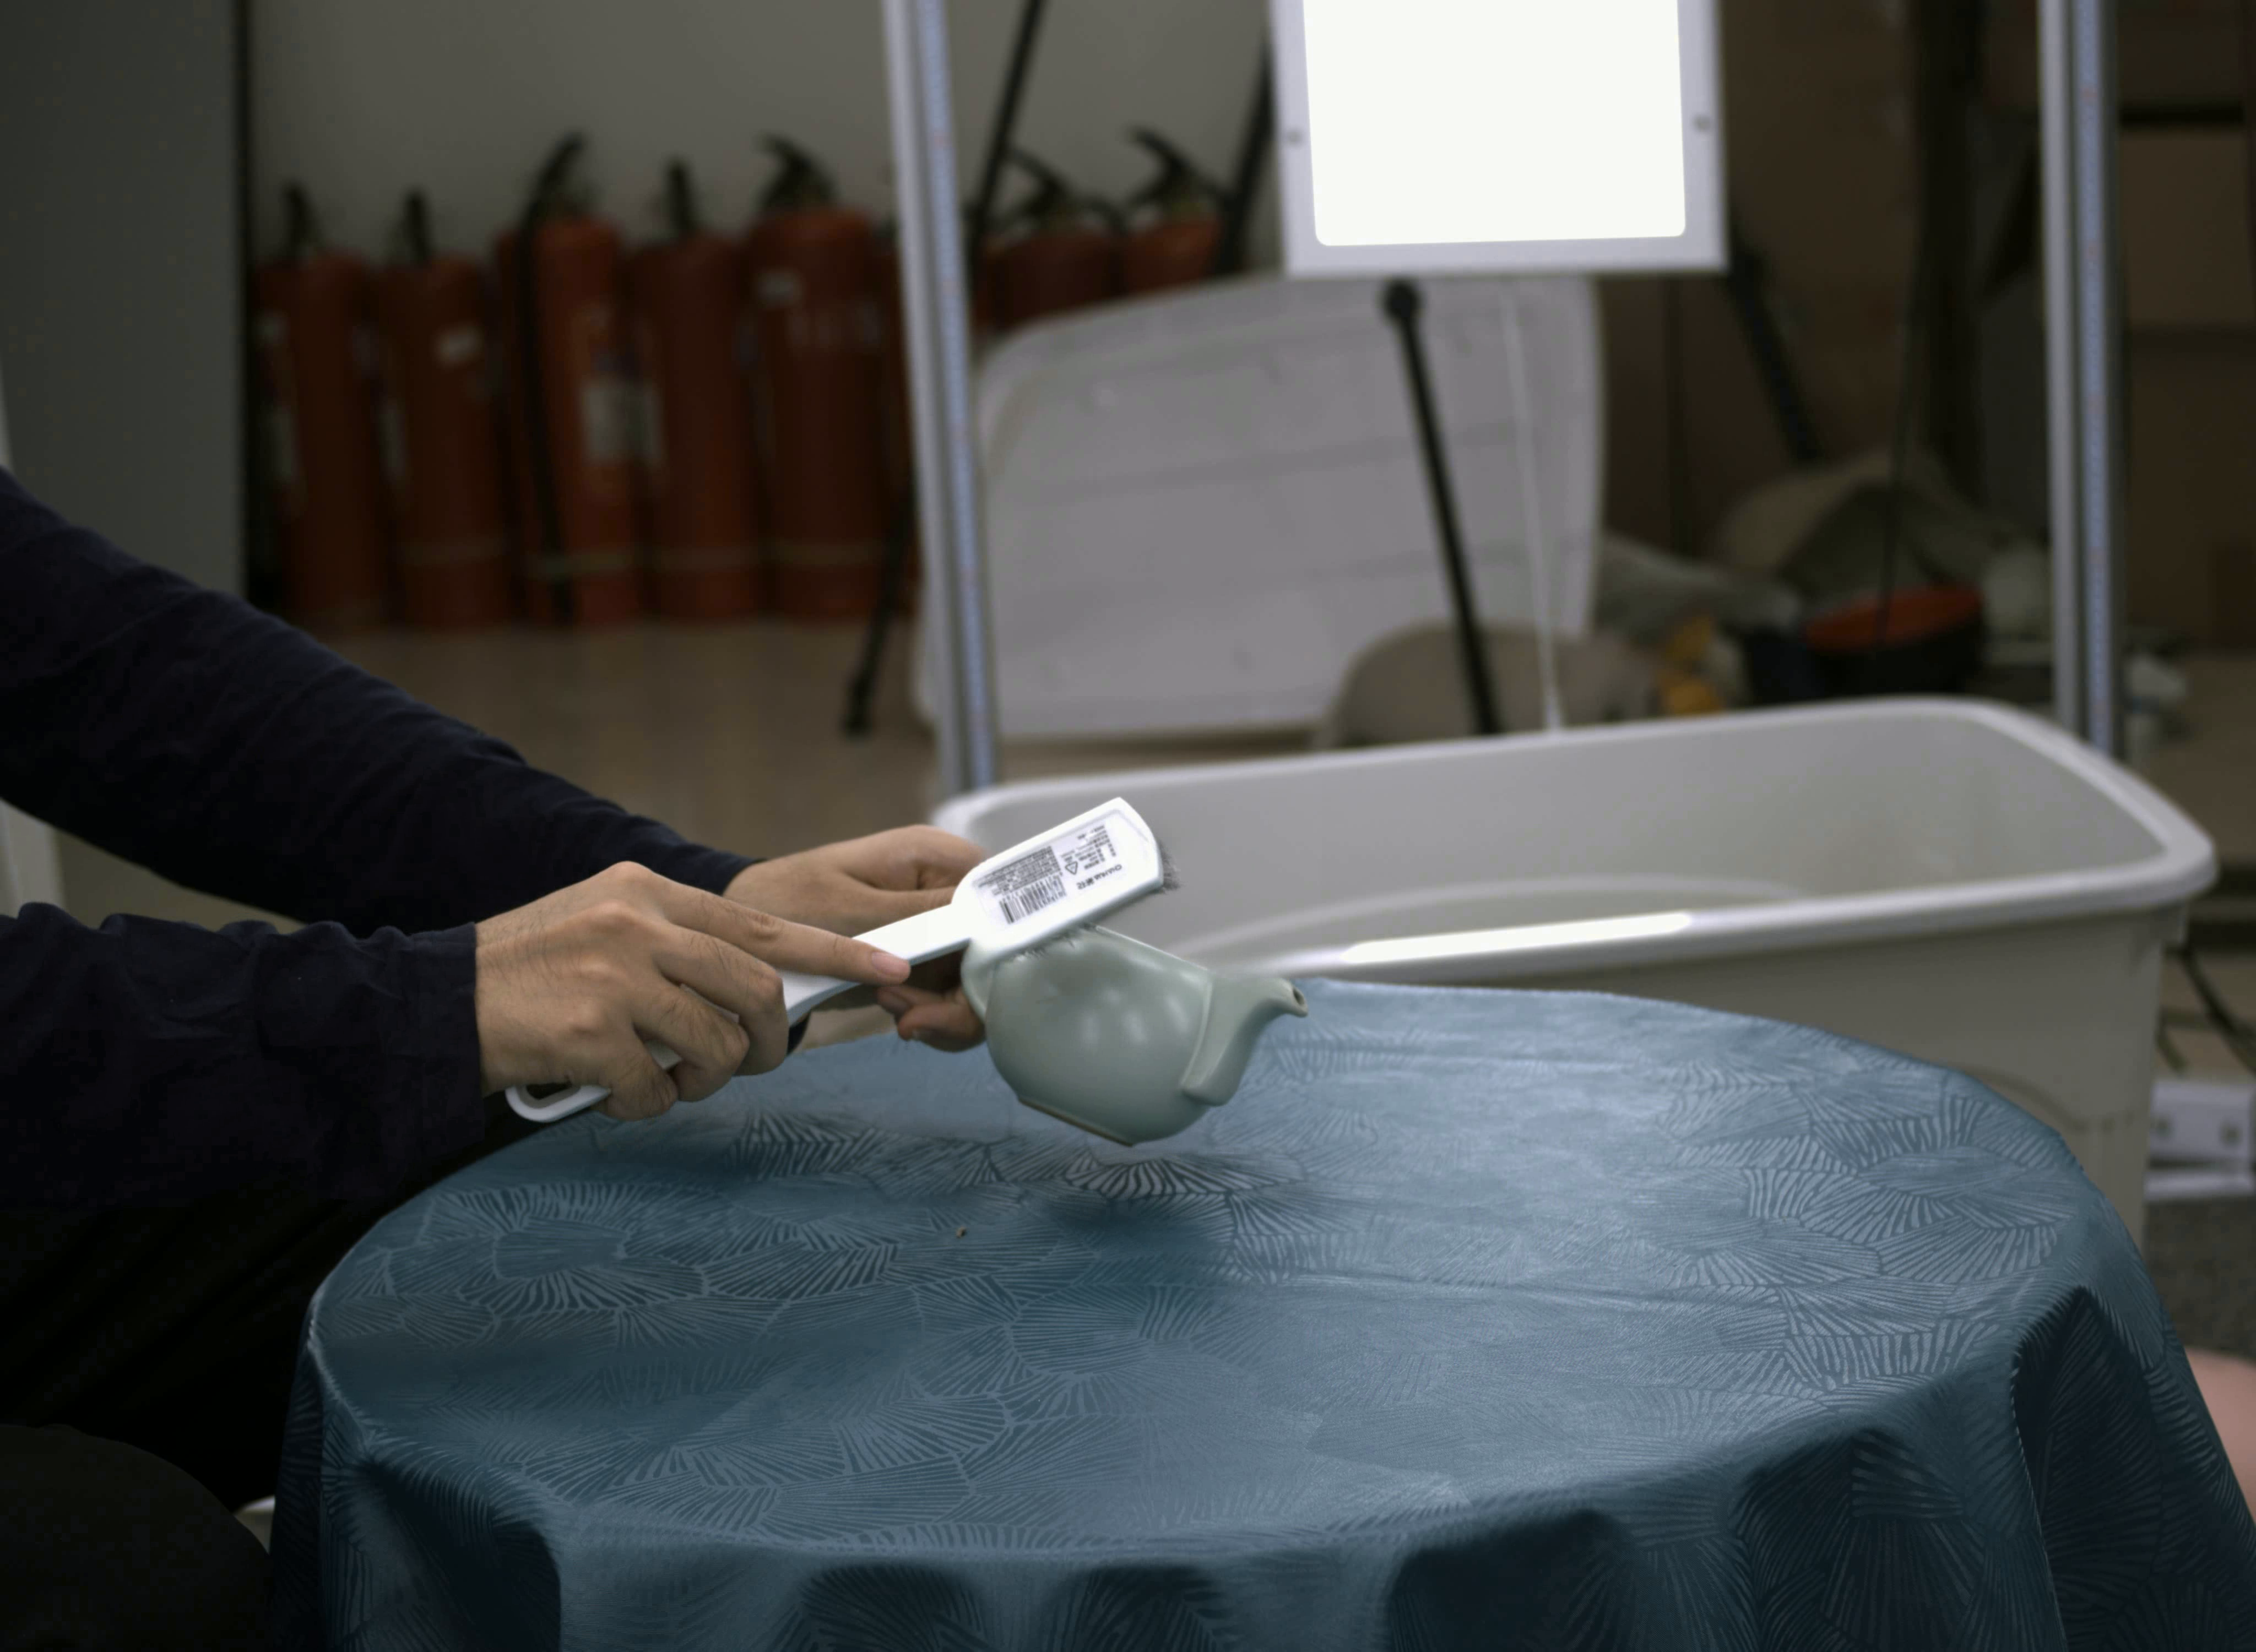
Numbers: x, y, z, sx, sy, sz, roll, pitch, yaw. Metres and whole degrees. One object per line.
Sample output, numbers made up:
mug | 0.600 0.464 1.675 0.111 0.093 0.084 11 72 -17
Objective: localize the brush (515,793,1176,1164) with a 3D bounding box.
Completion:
brush | -0.094 0.053 1.829 0.241 0.034 0.050 -27 -5 -10

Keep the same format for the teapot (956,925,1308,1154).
teapot | -0.005 0.072 1.902 0.146 0.075 0.086 20 -2 39
